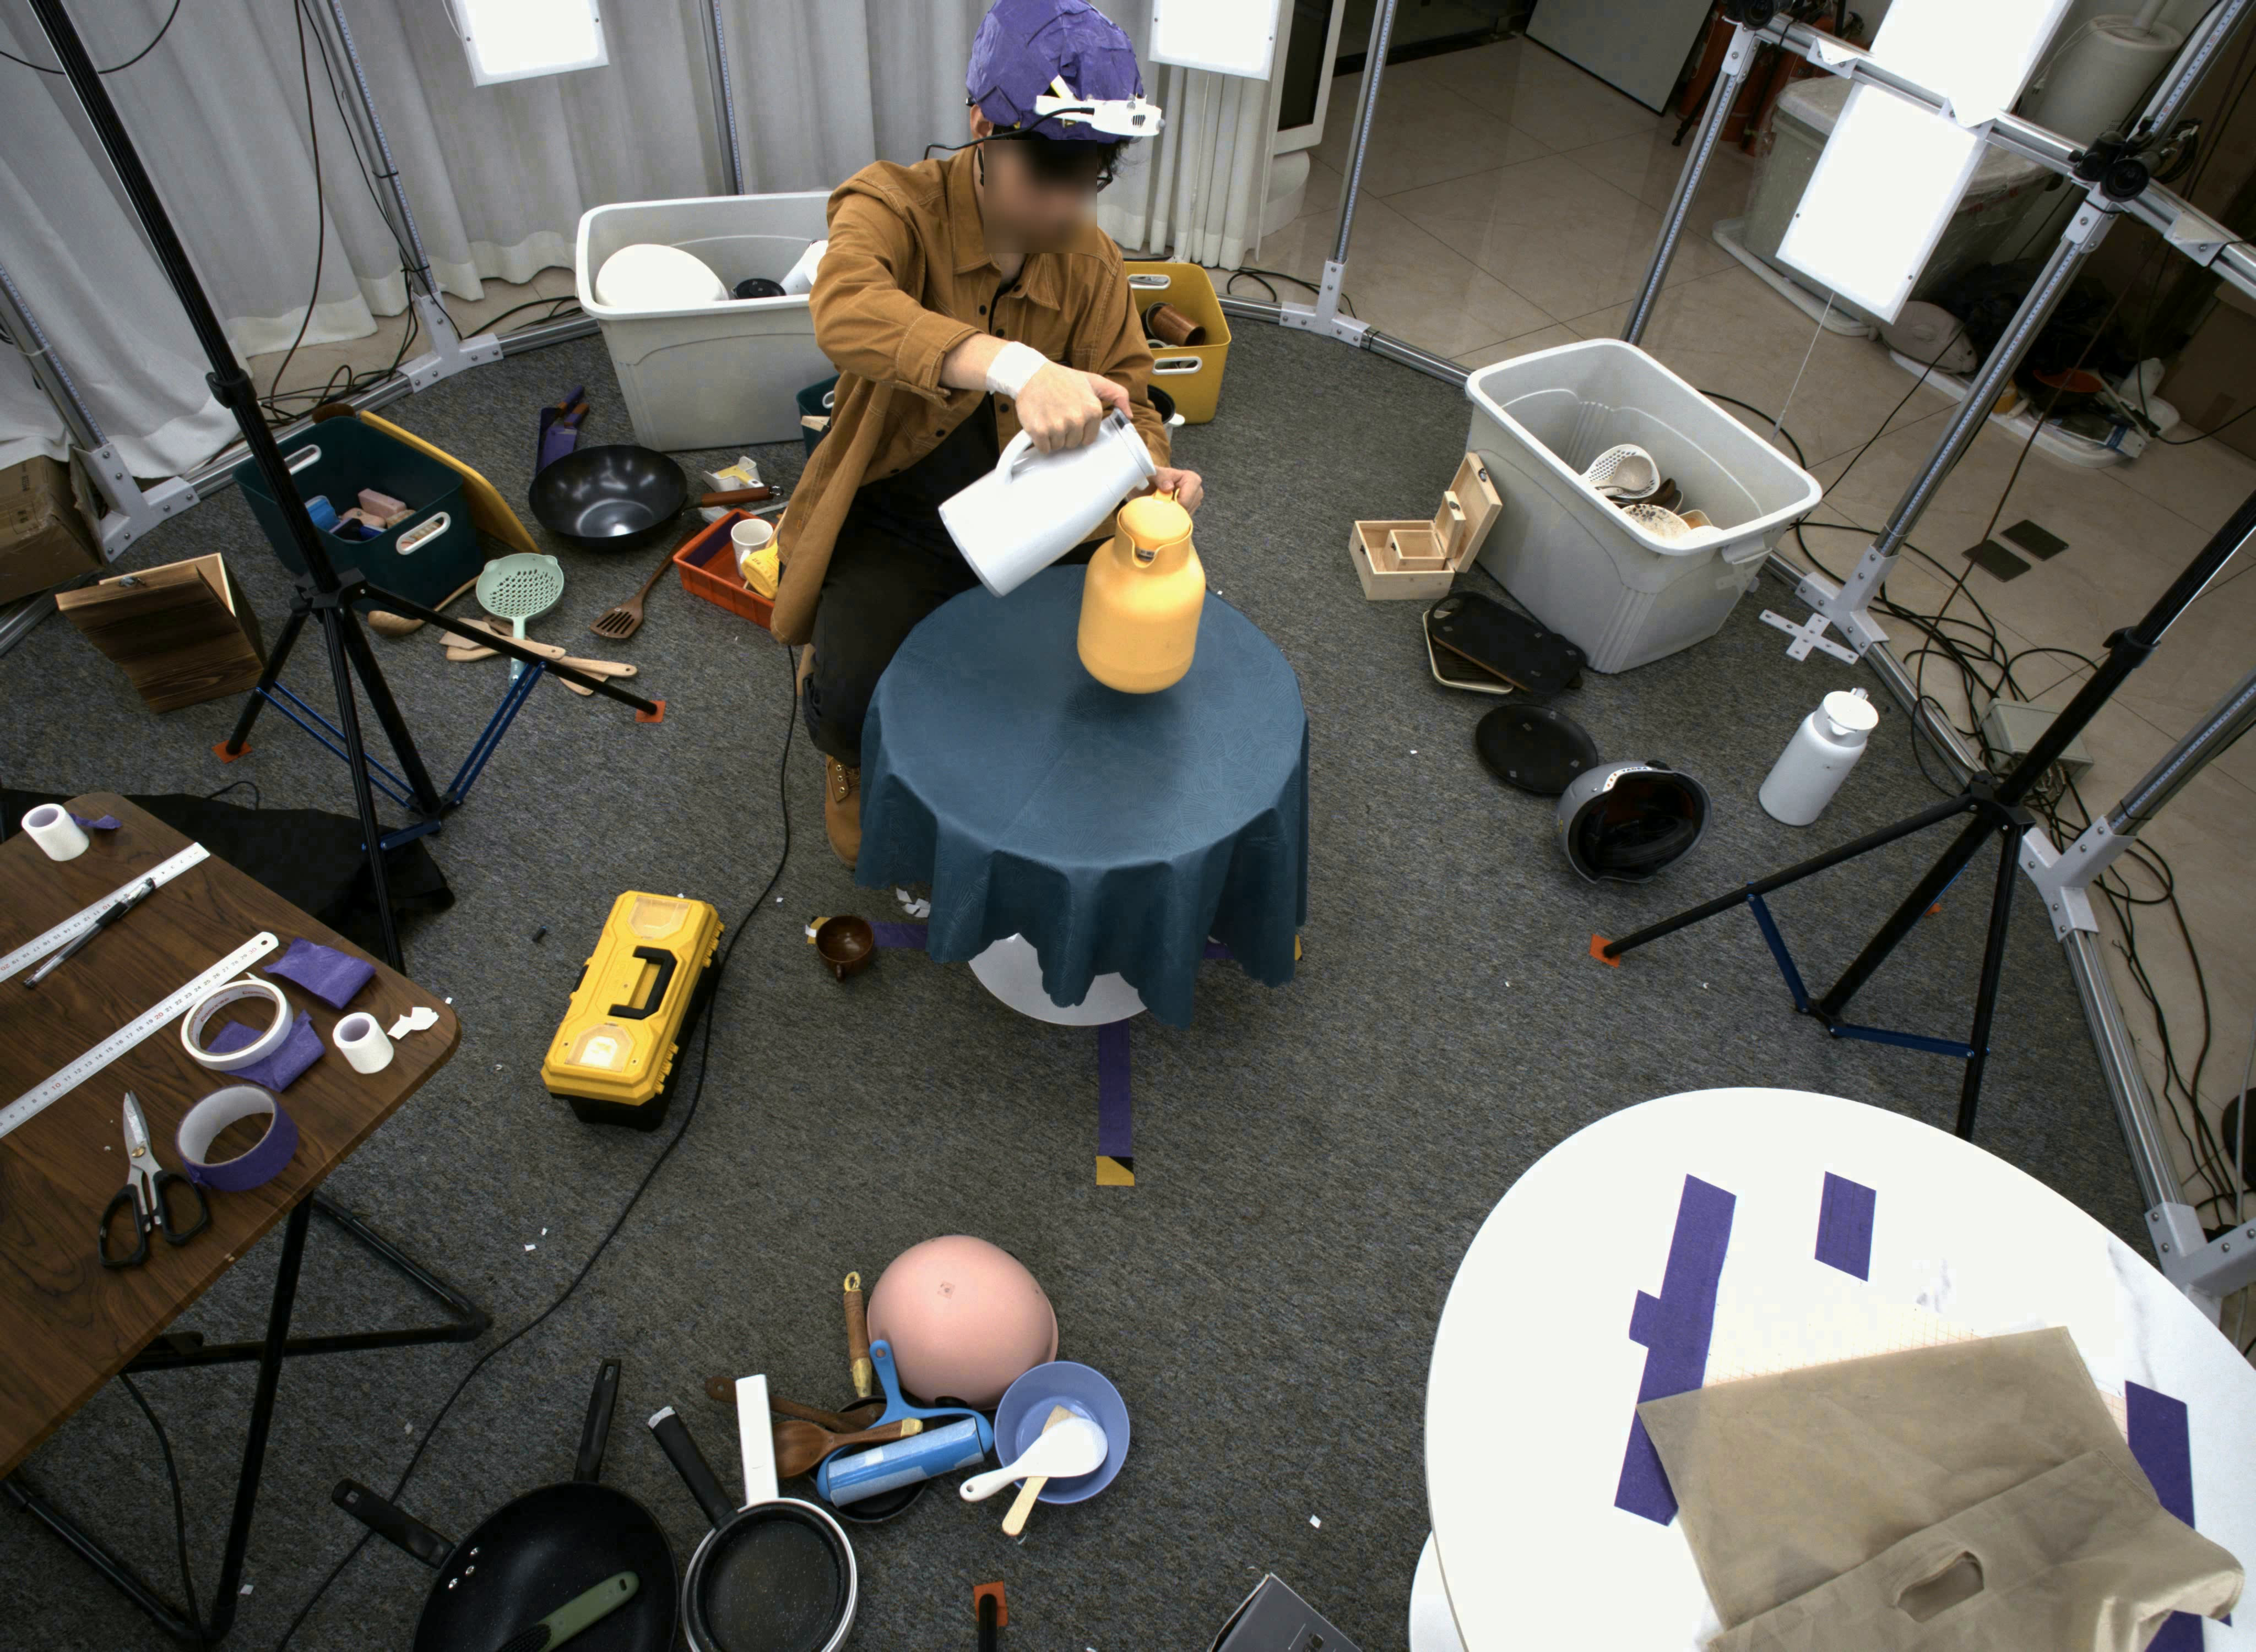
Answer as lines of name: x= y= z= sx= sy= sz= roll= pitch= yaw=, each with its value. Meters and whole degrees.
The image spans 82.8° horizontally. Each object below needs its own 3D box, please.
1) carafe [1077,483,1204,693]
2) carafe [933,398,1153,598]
carafe: x=0.027 y=-0.325 z=1.722 sx=0.164 sy=0.254 sz=0.207 roll=16 pitch=50 yaw=5
carafe: x=-0.099 y=-0.401 z=1.516 sx=0.248 sy=0.164 sz=0.135 roll=-33 pitch=55 yaw=8
